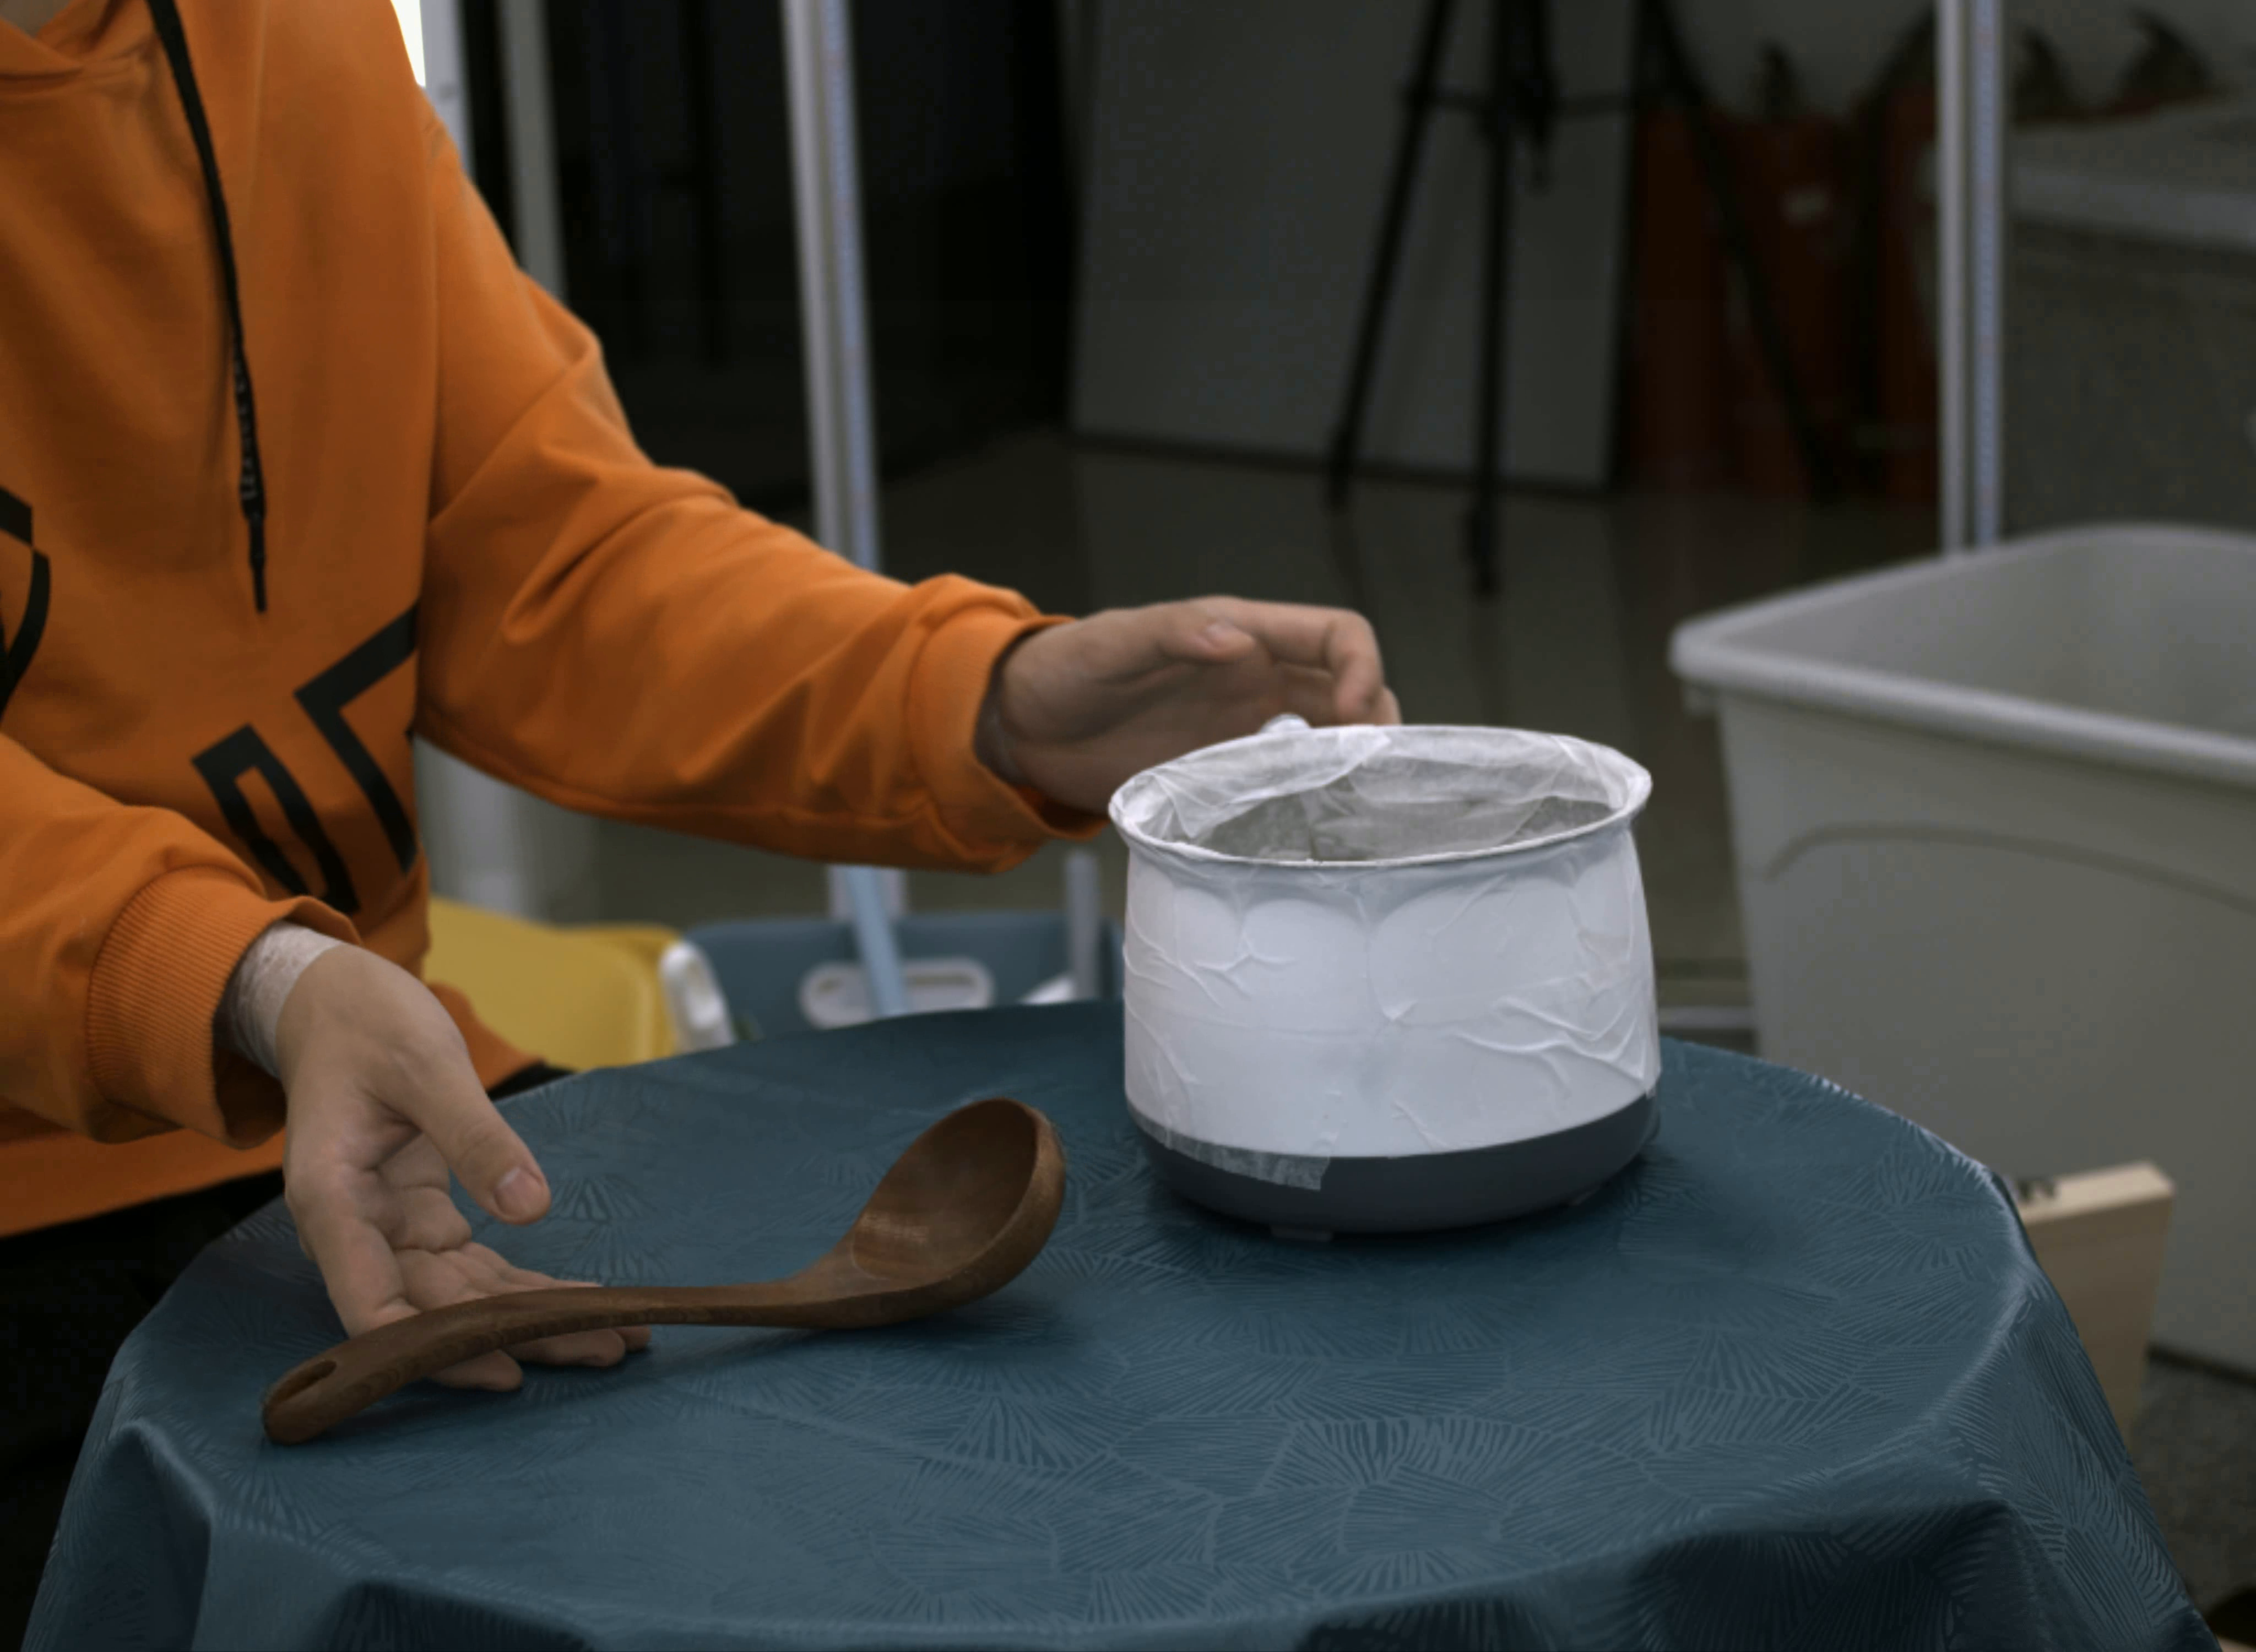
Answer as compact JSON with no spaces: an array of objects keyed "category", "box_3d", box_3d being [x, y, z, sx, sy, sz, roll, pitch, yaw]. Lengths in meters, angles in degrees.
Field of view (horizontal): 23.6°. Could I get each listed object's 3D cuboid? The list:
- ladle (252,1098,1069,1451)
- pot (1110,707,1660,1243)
[{"category":"ladle","box_3d":[-0.139,0.134,1.628,0.255,0.066,0.077,-9,15,-20]},{"category":"pot","box_3d":[0.076,0.043,1.776,0.175,0.138,0.235,-7,14,-16]}]
